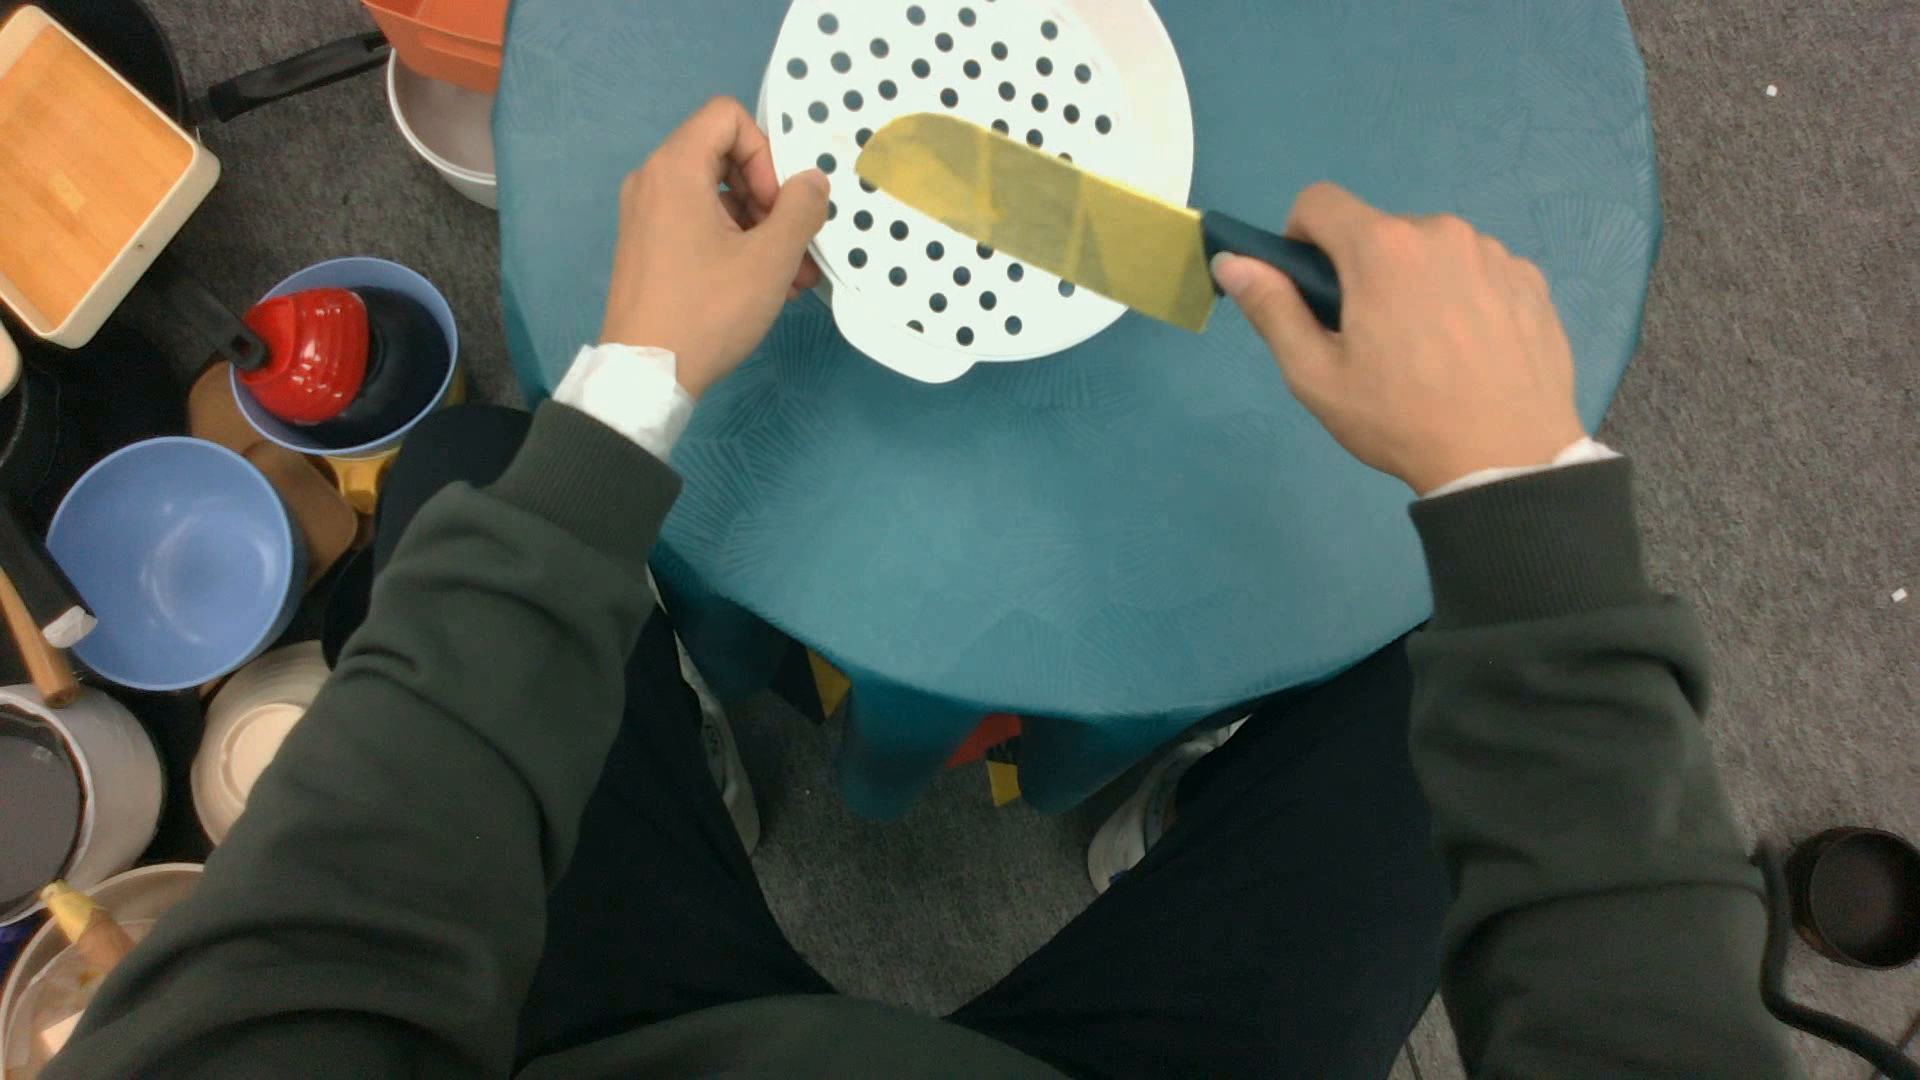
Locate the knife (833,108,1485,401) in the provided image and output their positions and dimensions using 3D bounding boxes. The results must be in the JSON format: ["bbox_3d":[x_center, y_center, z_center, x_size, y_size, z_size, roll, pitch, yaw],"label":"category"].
[{"bbox_3d":[0.072,-0.116,0.570,0.289,0.081,0.027,24,68,14],"label":"knife"}]

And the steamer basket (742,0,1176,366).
[{"bbox_3d":[-0.002,-0.191,0.645,0.202,0.069,0.231,26,85,-19],"label":"steamer basket"}]
